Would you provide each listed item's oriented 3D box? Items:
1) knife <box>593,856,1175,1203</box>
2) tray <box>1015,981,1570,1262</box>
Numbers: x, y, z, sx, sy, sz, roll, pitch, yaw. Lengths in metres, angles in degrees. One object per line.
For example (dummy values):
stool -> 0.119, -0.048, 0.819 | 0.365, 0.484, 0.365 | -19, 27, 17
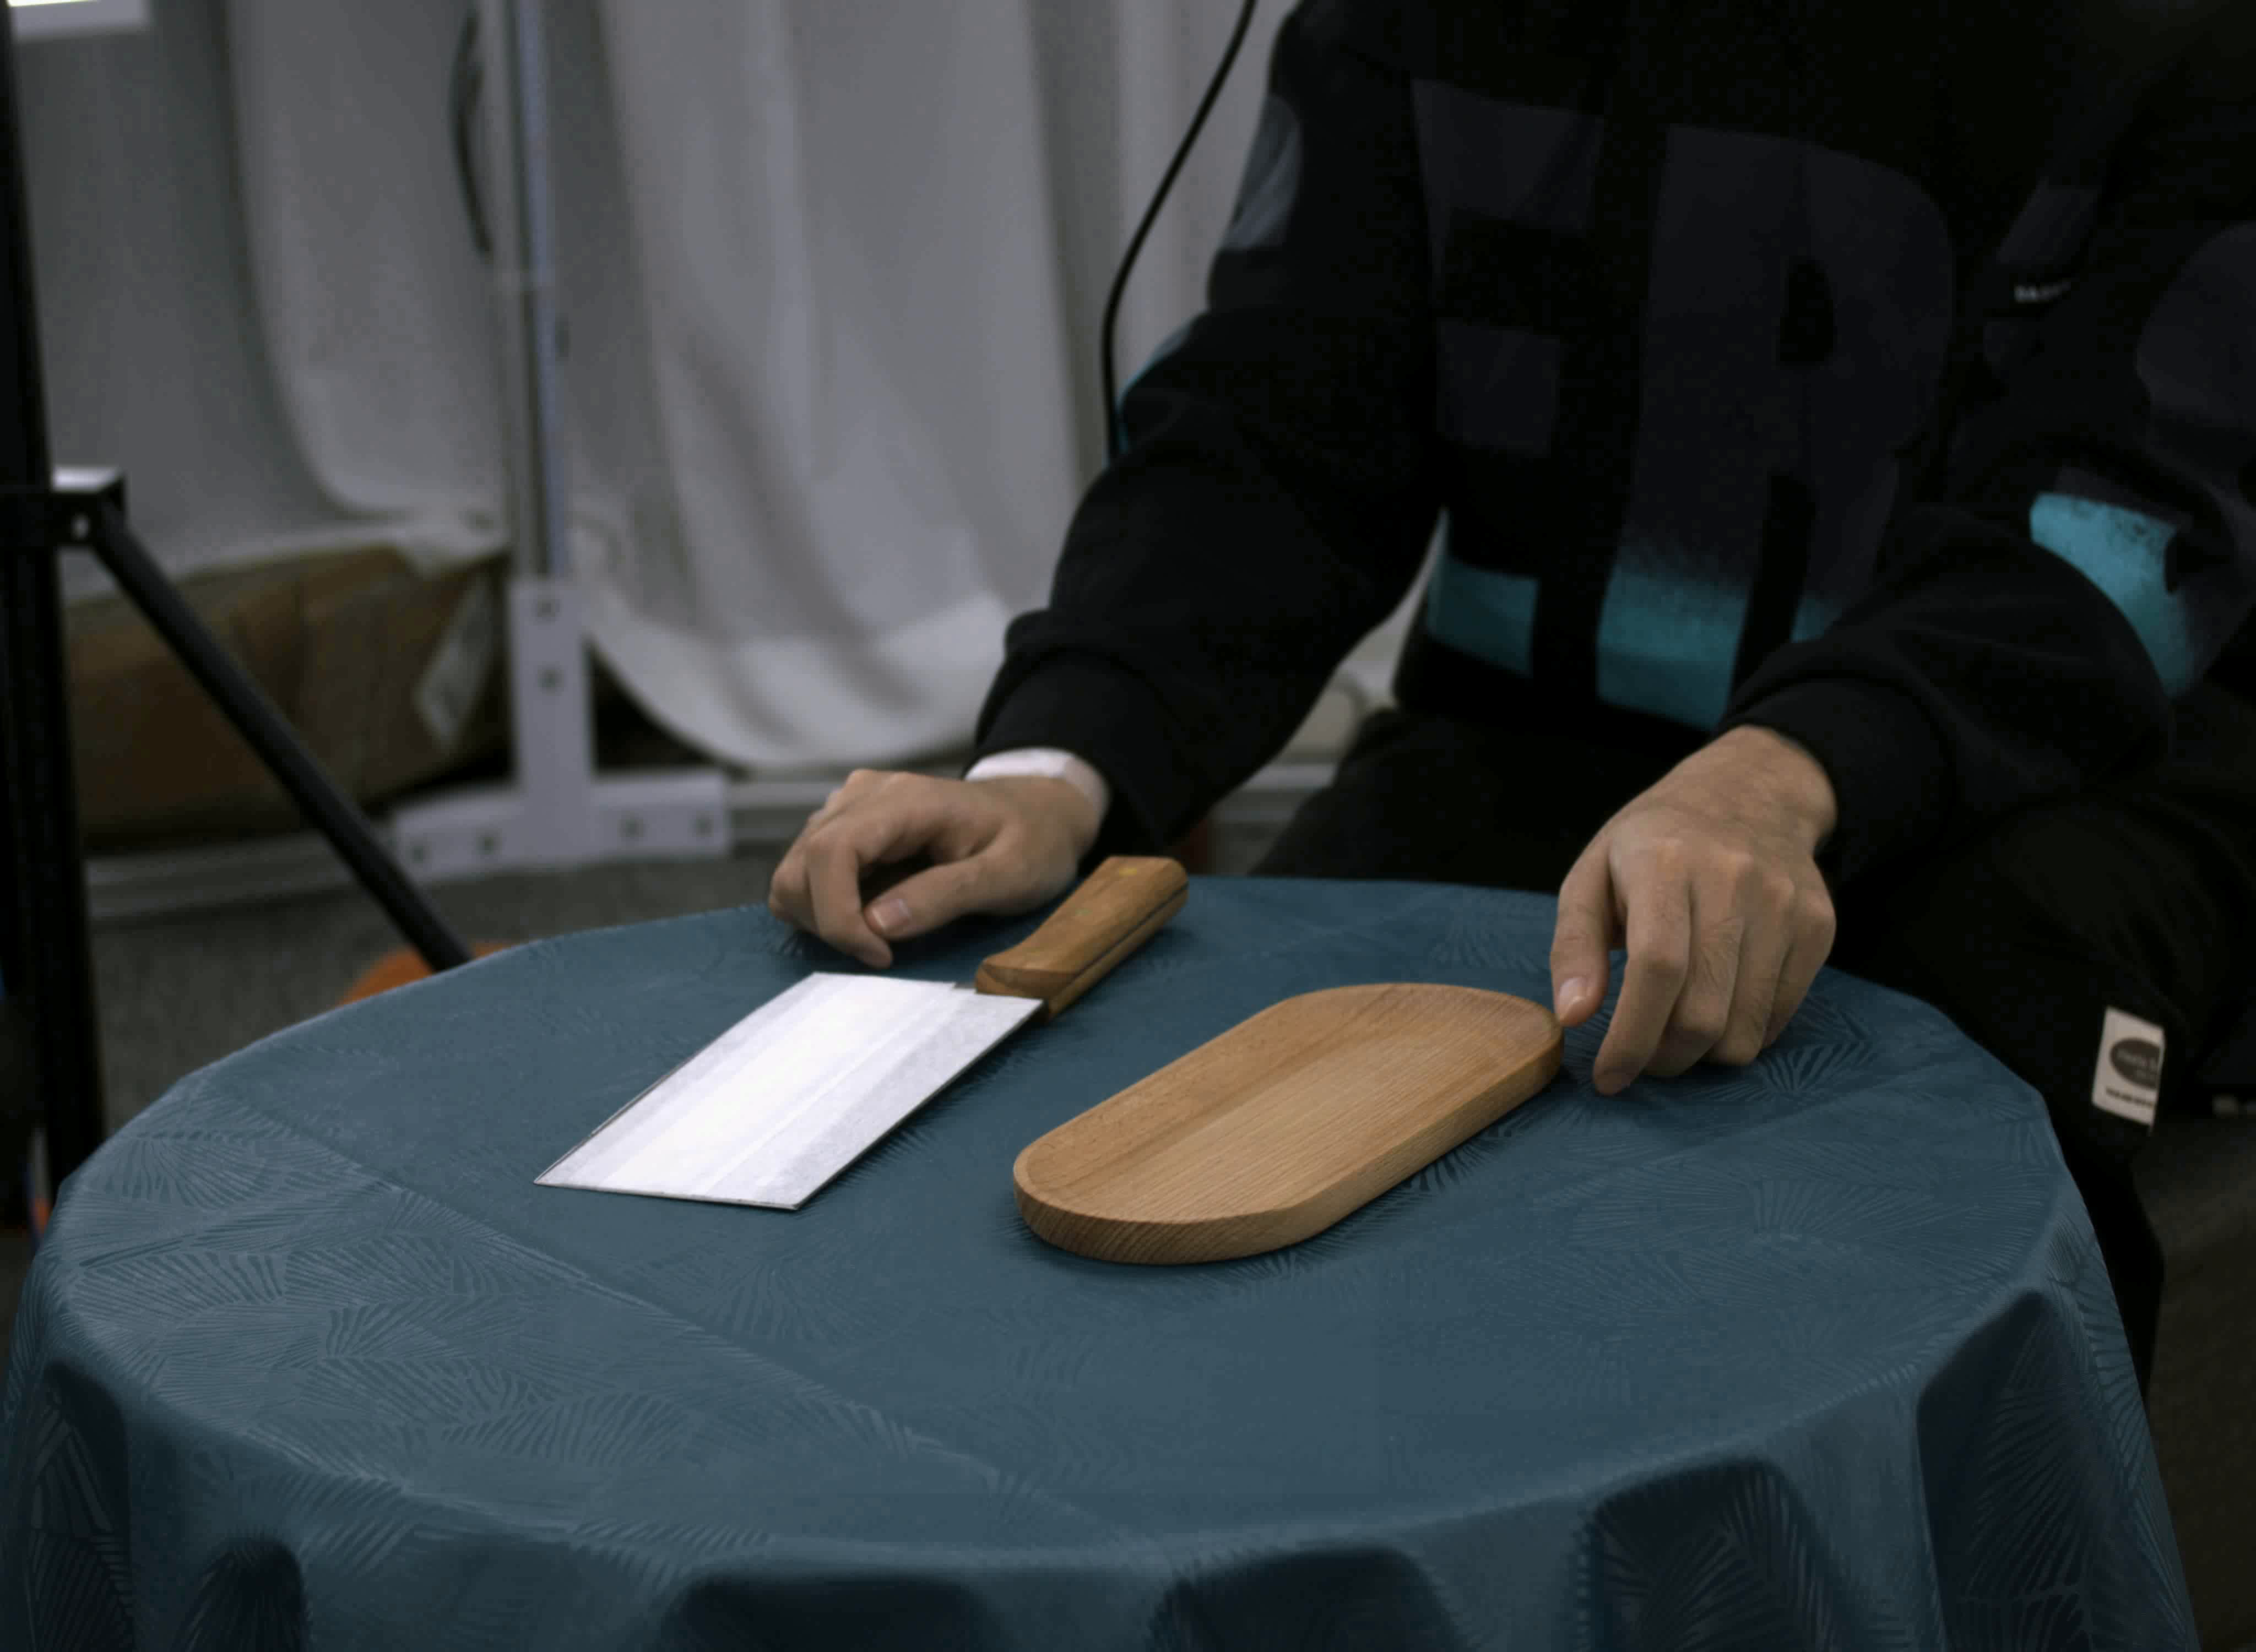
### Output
knife -> -0.076, 0.063, 1.702 | 0.094, 0.021, 0.302 | 3, 19, 24
tray -> 0.052, 0.087, 1.593 | 0.103, 0.020, 0.227 | 8, 18, 32
